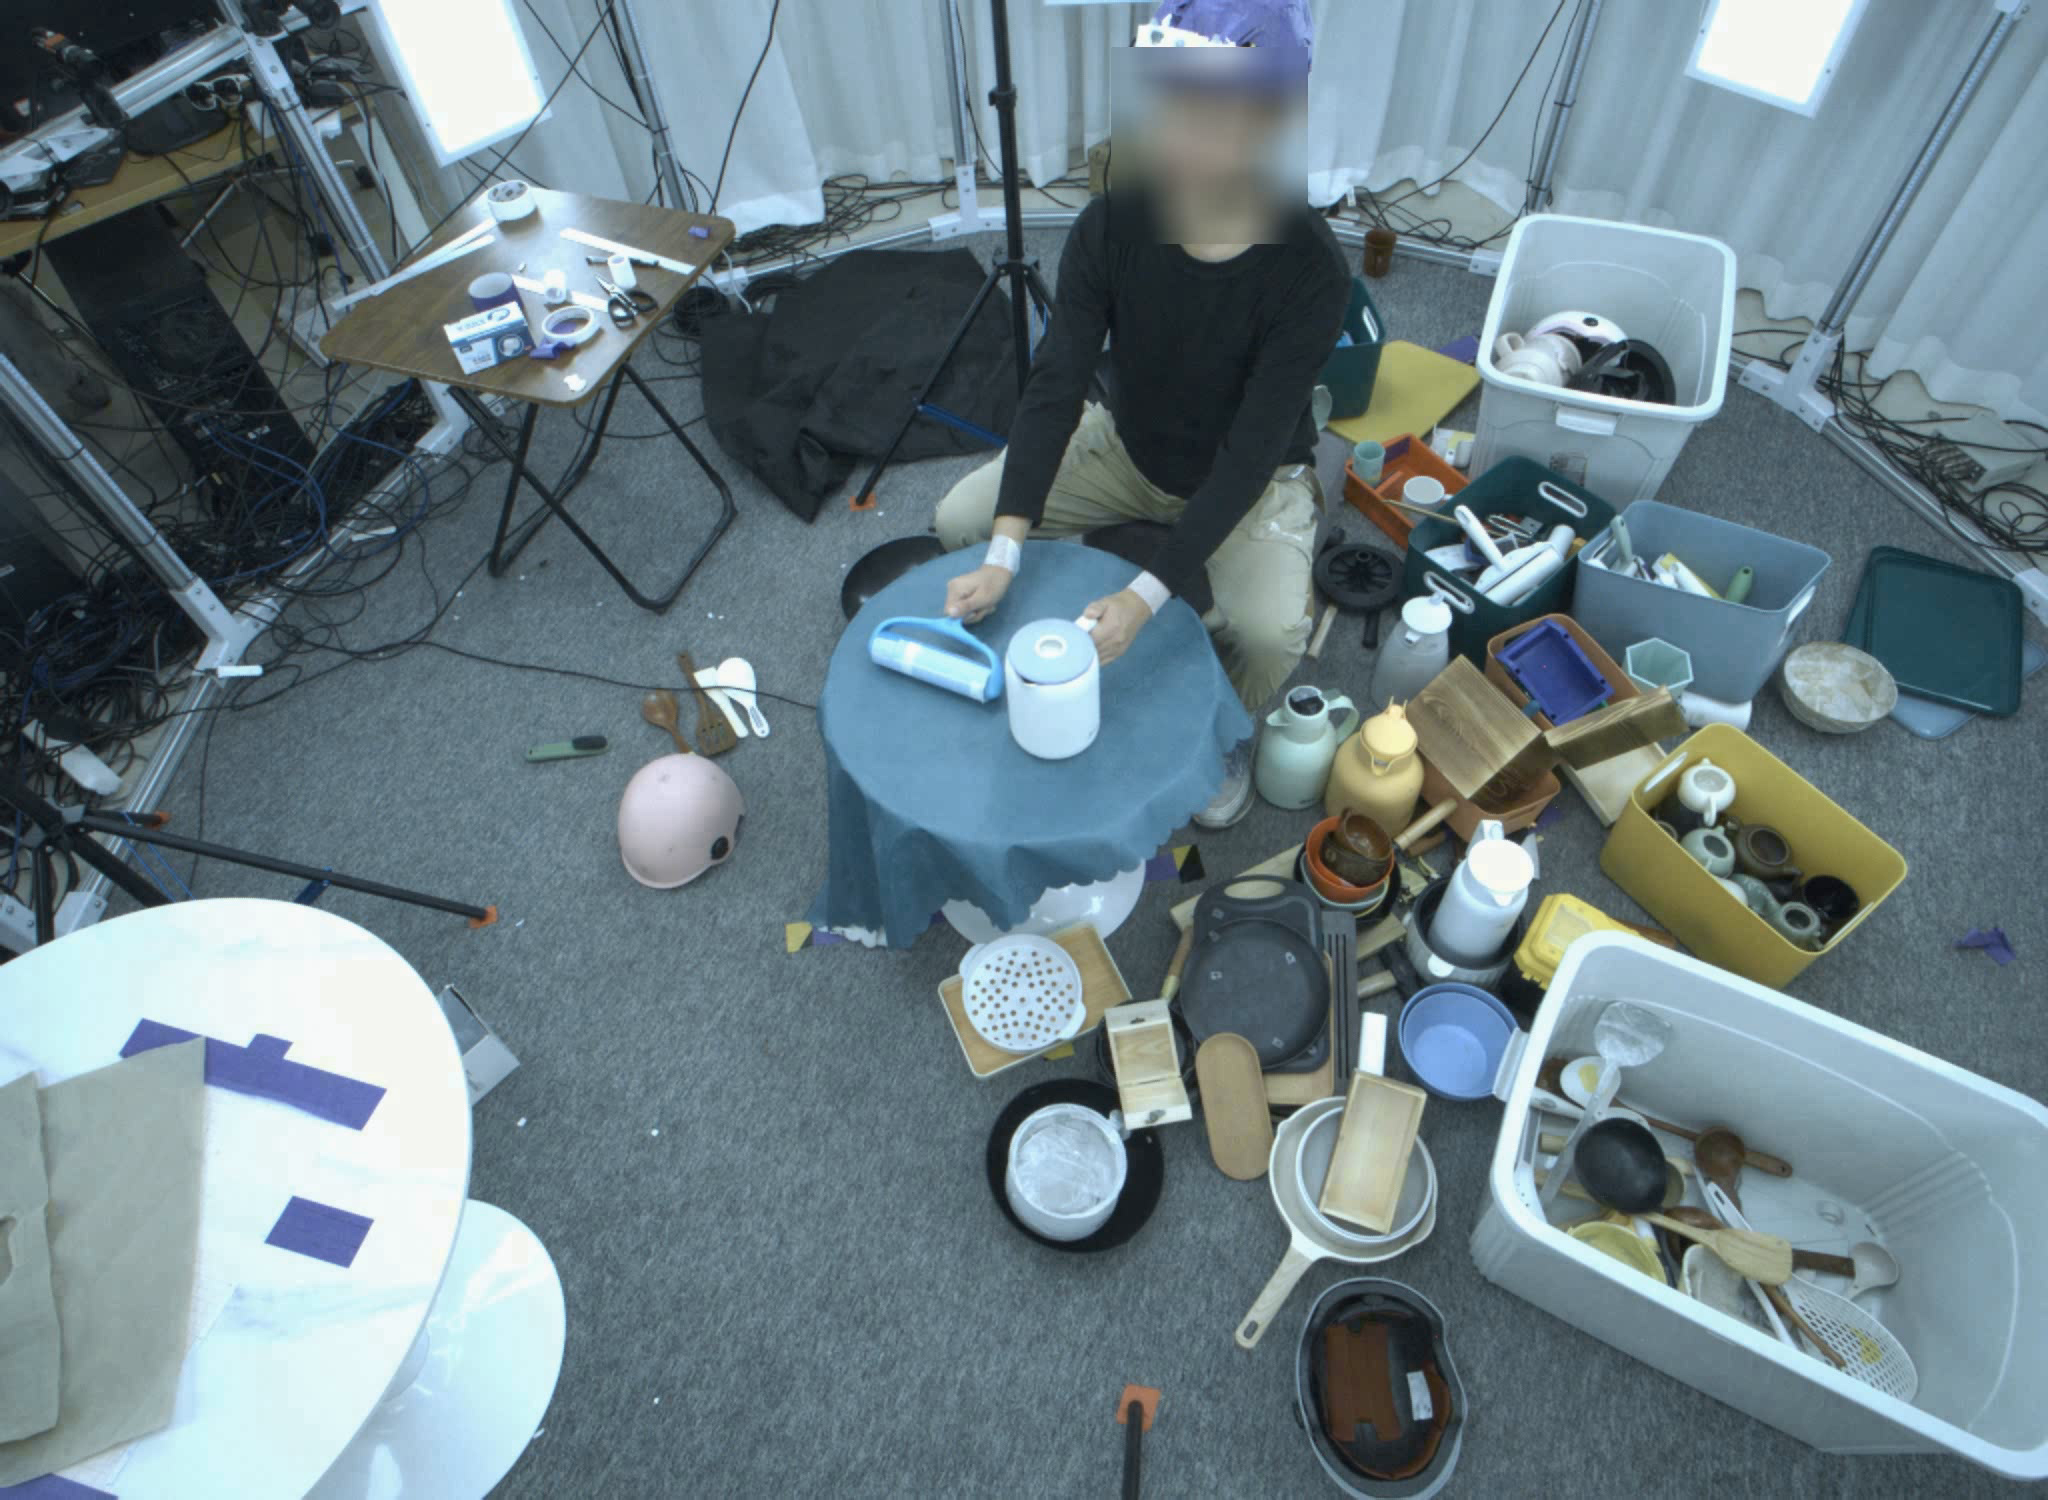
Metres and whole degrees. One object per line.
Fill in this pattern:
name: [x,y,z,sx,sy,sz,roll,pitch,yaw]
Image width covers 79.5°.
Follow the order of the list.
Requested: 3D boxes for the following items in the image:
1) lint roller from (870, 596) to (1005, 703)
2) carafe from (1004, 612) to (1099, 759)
lint roller: [-0.110,-0.176,1.872,0.226,0.069,0.180,17,69,18]
carafe: [0.053,-0.103,1.752,0.130,0.184,0.192,25,56,19]
